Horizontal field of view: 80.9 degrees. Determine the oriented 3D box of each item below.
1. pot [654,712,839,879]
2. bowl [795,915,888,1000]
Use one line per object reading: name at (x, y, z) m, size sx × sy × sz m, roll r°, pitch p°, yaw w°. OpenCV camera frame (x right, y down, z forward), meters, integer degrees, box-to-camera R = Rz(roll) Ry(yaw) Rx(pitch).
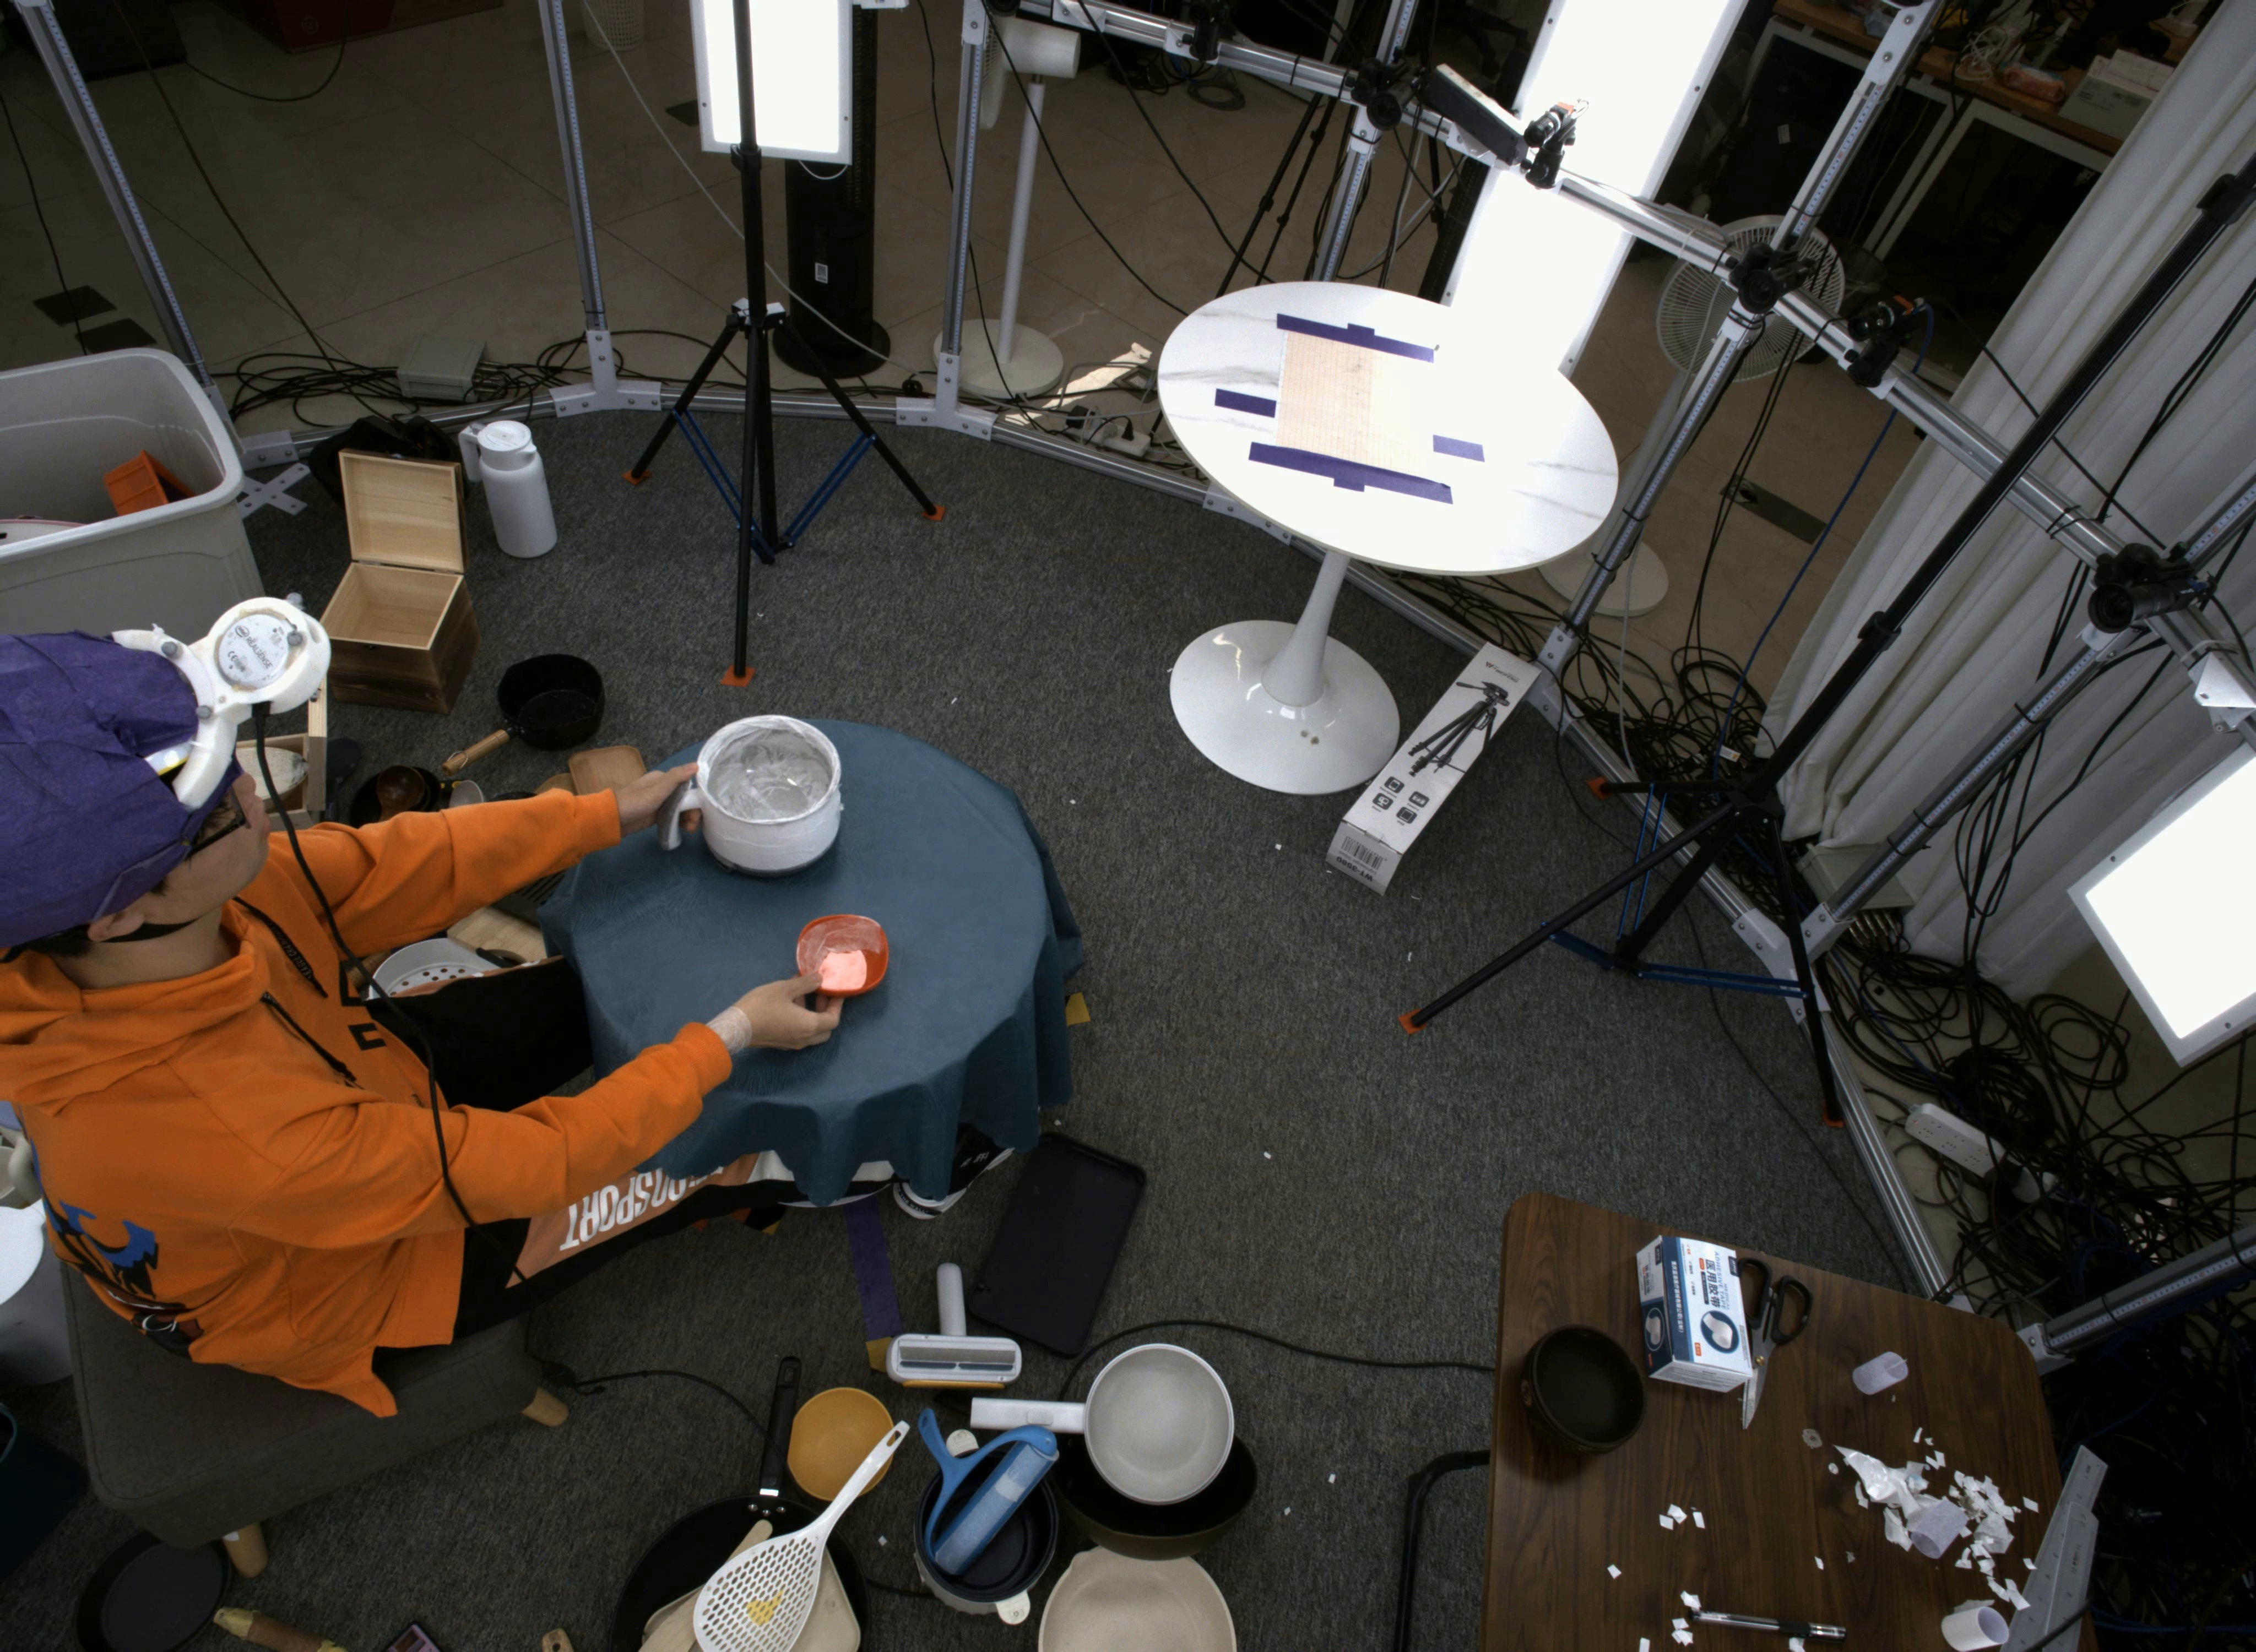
pot at (-0.482, -0.029, 1.631) m, size 0.235 × 0.139 × 0.174 m, roll -13°, pitch 57°, yaw -24°
bowl at (-0.348, 0.166, 1.577) m, size 0.119 × 0.052 × 0.117 m, roll 8°, pitch 52°, yaw -9°
